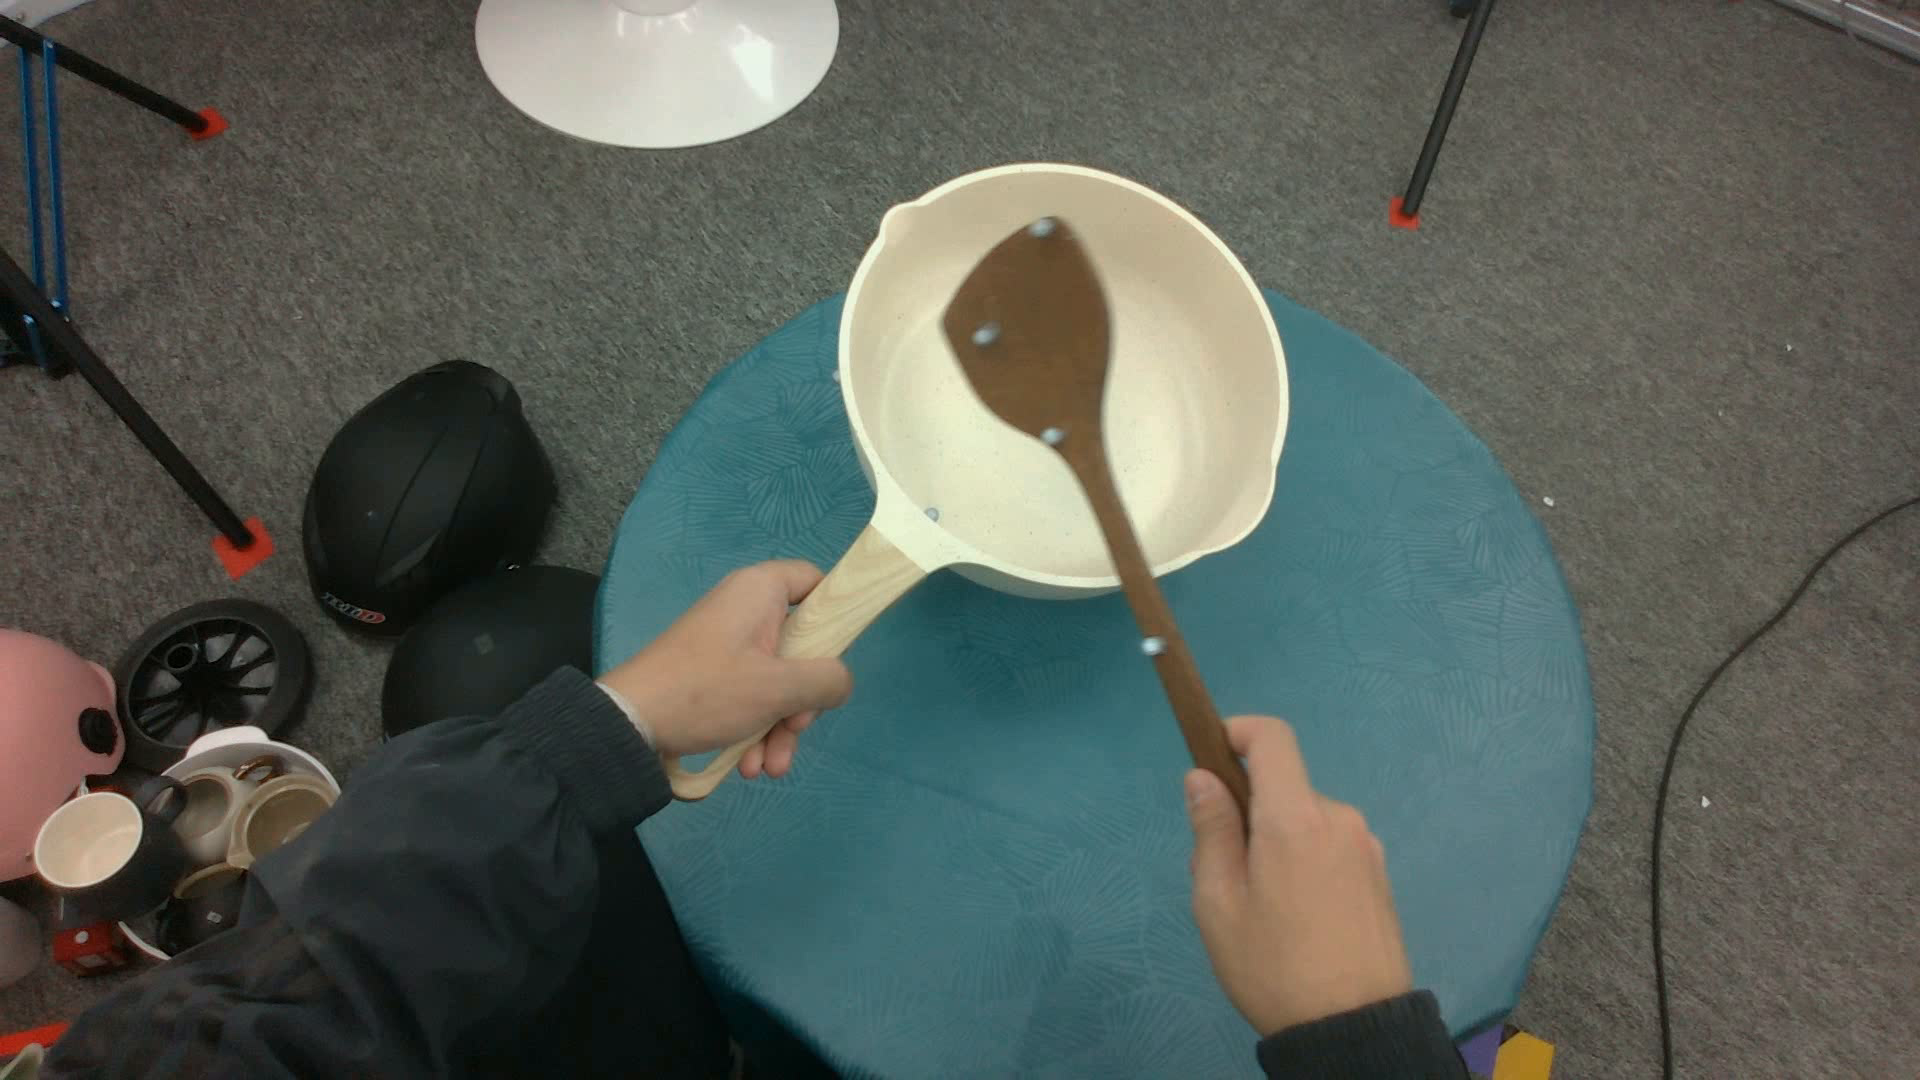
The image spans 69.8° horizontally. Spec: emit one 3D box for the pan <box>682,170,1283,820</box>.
[{"bbox_3d":[-0.001,-0.019,0.755,0.263,0.101,0.436,39,69,4],"label":"pan"}]

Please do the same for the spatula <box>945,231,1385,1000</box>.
[{"bbox_3d":[0.095,0.029,0.640,0.016,0.095,0.386,-8,66,-45],"label":"spatula"}]
